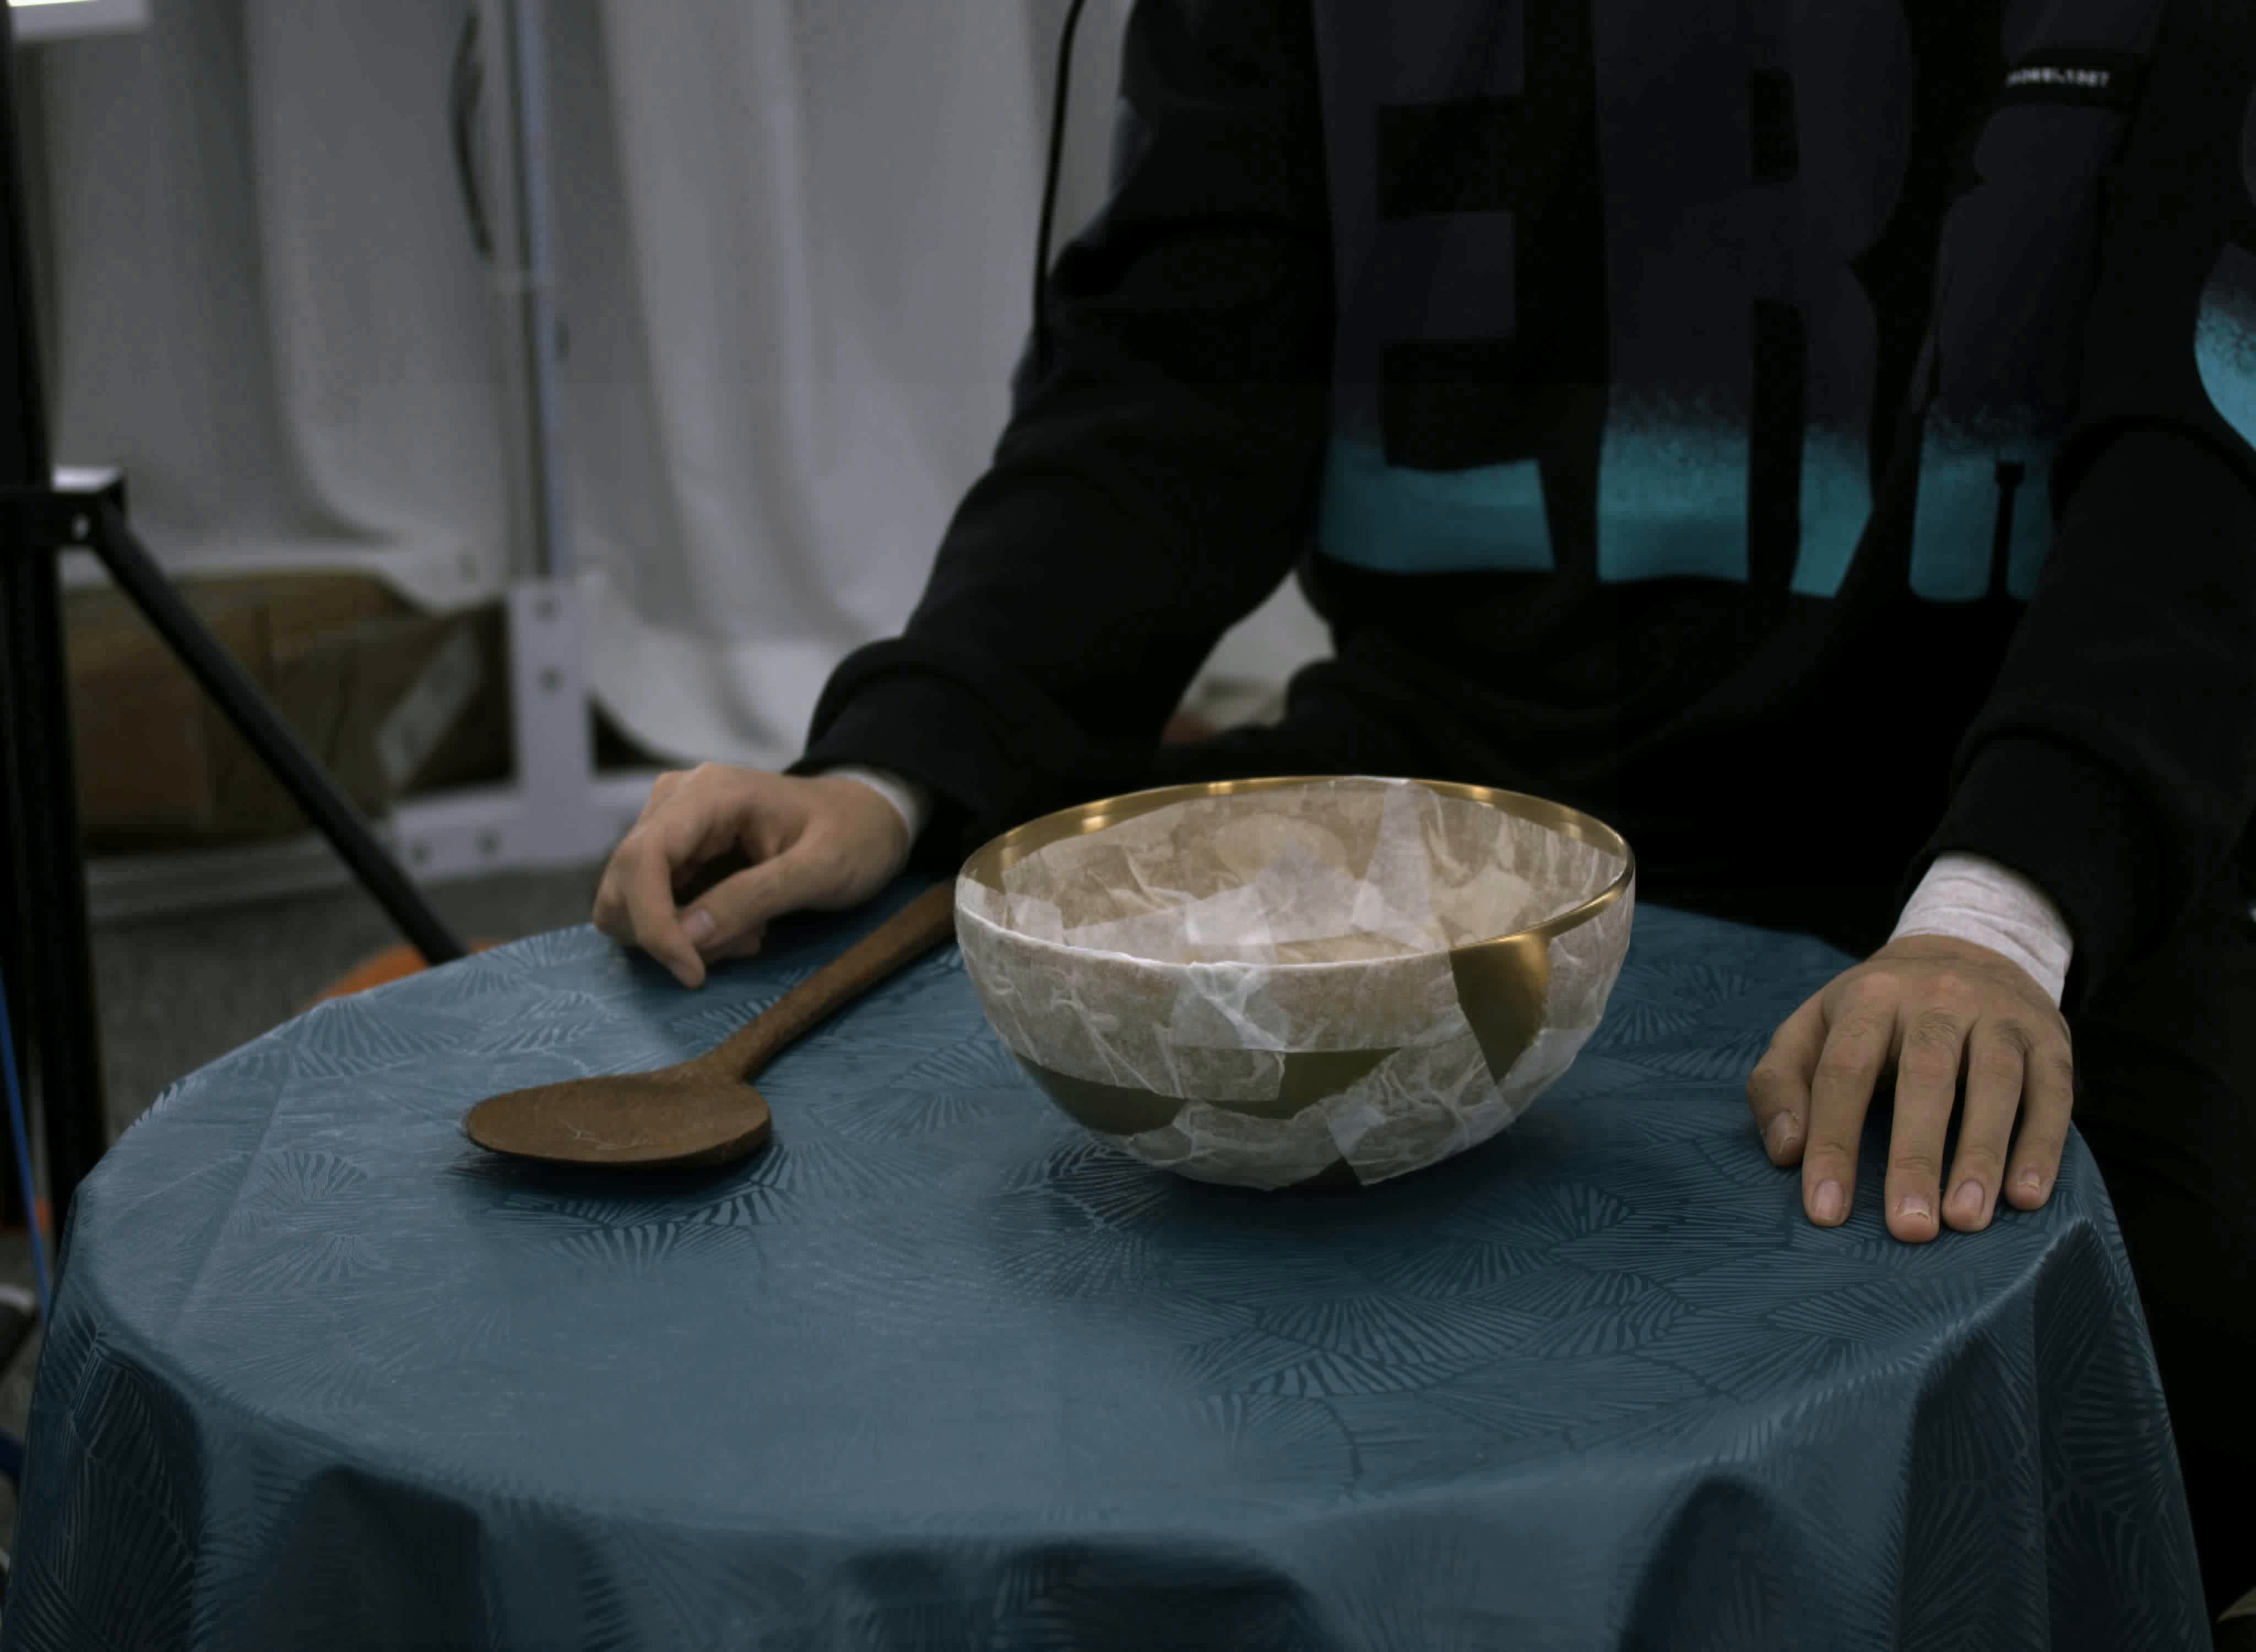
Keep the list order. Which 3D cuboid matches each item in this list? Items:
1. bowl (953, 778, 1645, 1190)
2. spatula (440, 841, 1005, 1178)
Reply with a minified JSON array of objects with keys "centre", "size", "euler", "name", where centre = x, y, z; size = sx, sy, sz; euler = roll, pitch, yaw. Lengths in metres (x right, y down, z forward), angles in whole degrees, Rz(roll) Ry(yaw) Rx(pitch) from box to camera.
[{"centre":[0.054,0.054,1.571],"size":[0.213,0.094,0.216],"euler":[-3,14,-1],"name":"bowl"},{"centre":[-0.098,0.053,1.744],"size":[0.097,0.016,0.380],"euler":[5,17,23],"name":"spatula"}]
